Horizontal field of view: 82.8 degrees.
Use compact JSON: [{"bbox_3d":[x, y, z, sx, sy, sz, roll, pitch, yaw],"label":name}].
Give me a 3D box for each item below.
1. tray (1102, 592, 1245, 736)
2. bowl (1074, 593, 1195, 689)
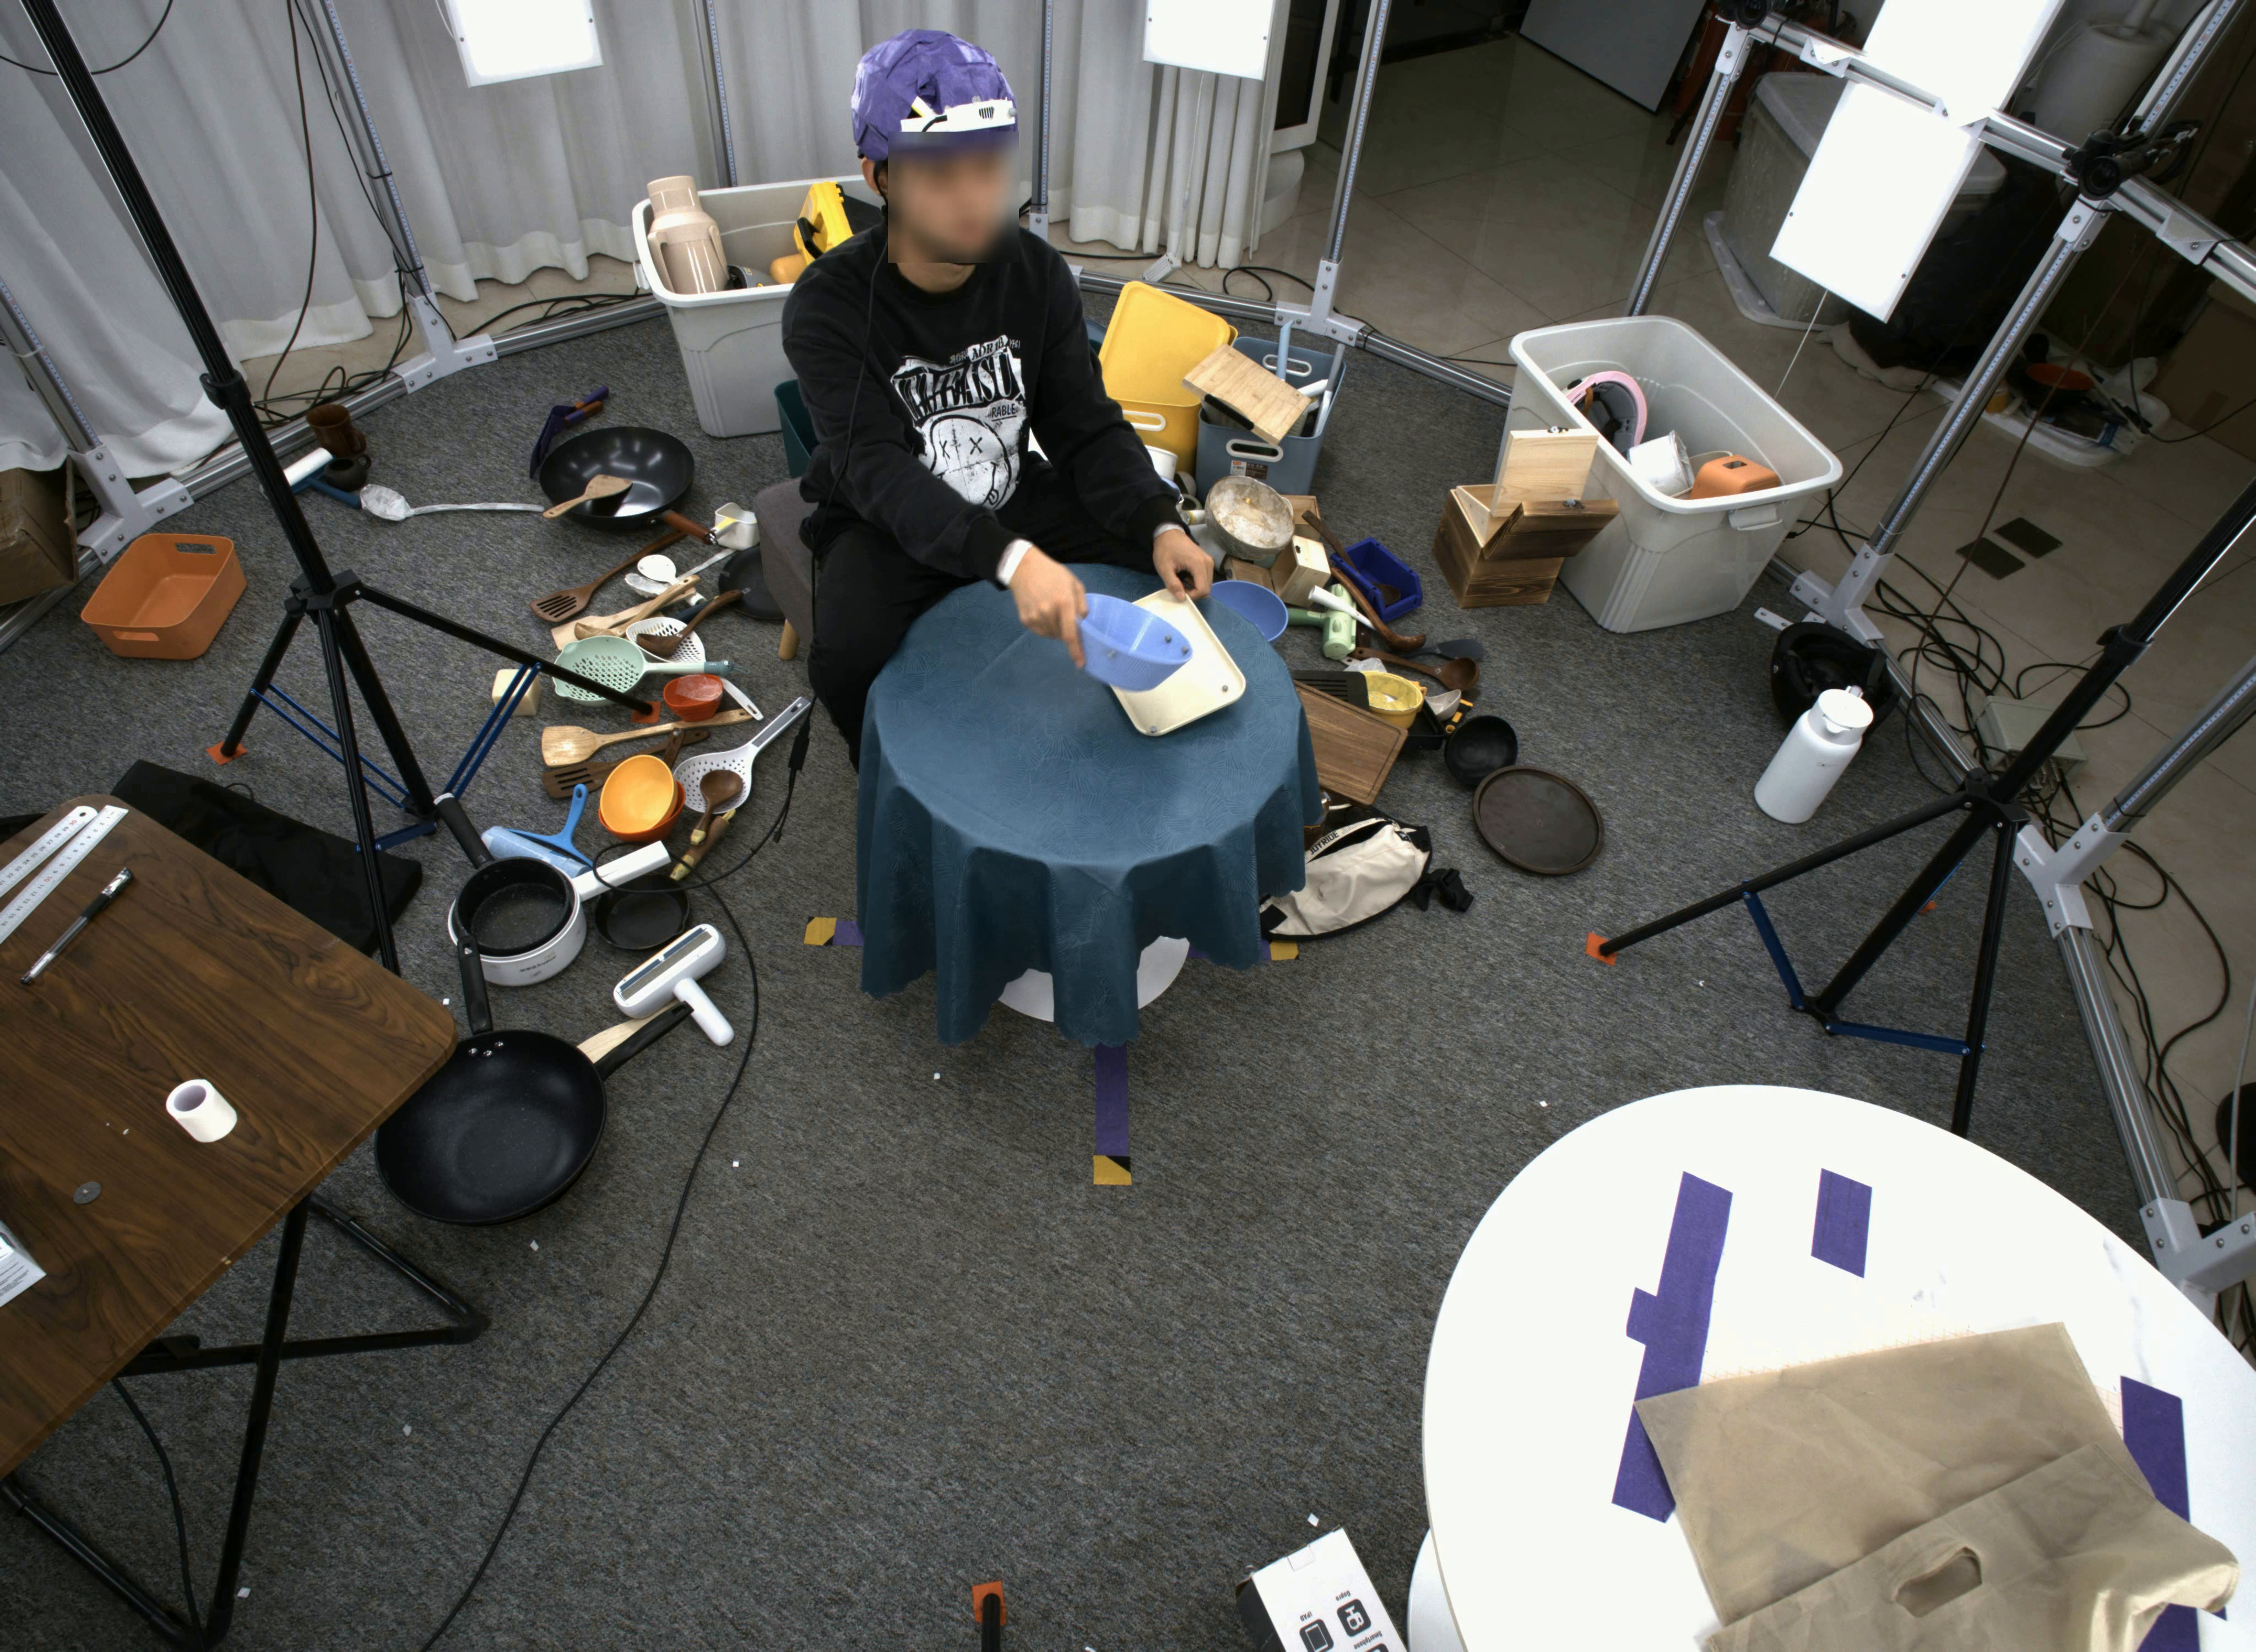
[{"bbox_3d":[0.051,-0.236,1.860,0.171,0.017,0.245,-24,55,-8],"label":"tray"},{"bbox_3d":[-0.003,-0.240,1.714,0.175,0.069,0.179,21,24,-10],"label":"bowl"}]
